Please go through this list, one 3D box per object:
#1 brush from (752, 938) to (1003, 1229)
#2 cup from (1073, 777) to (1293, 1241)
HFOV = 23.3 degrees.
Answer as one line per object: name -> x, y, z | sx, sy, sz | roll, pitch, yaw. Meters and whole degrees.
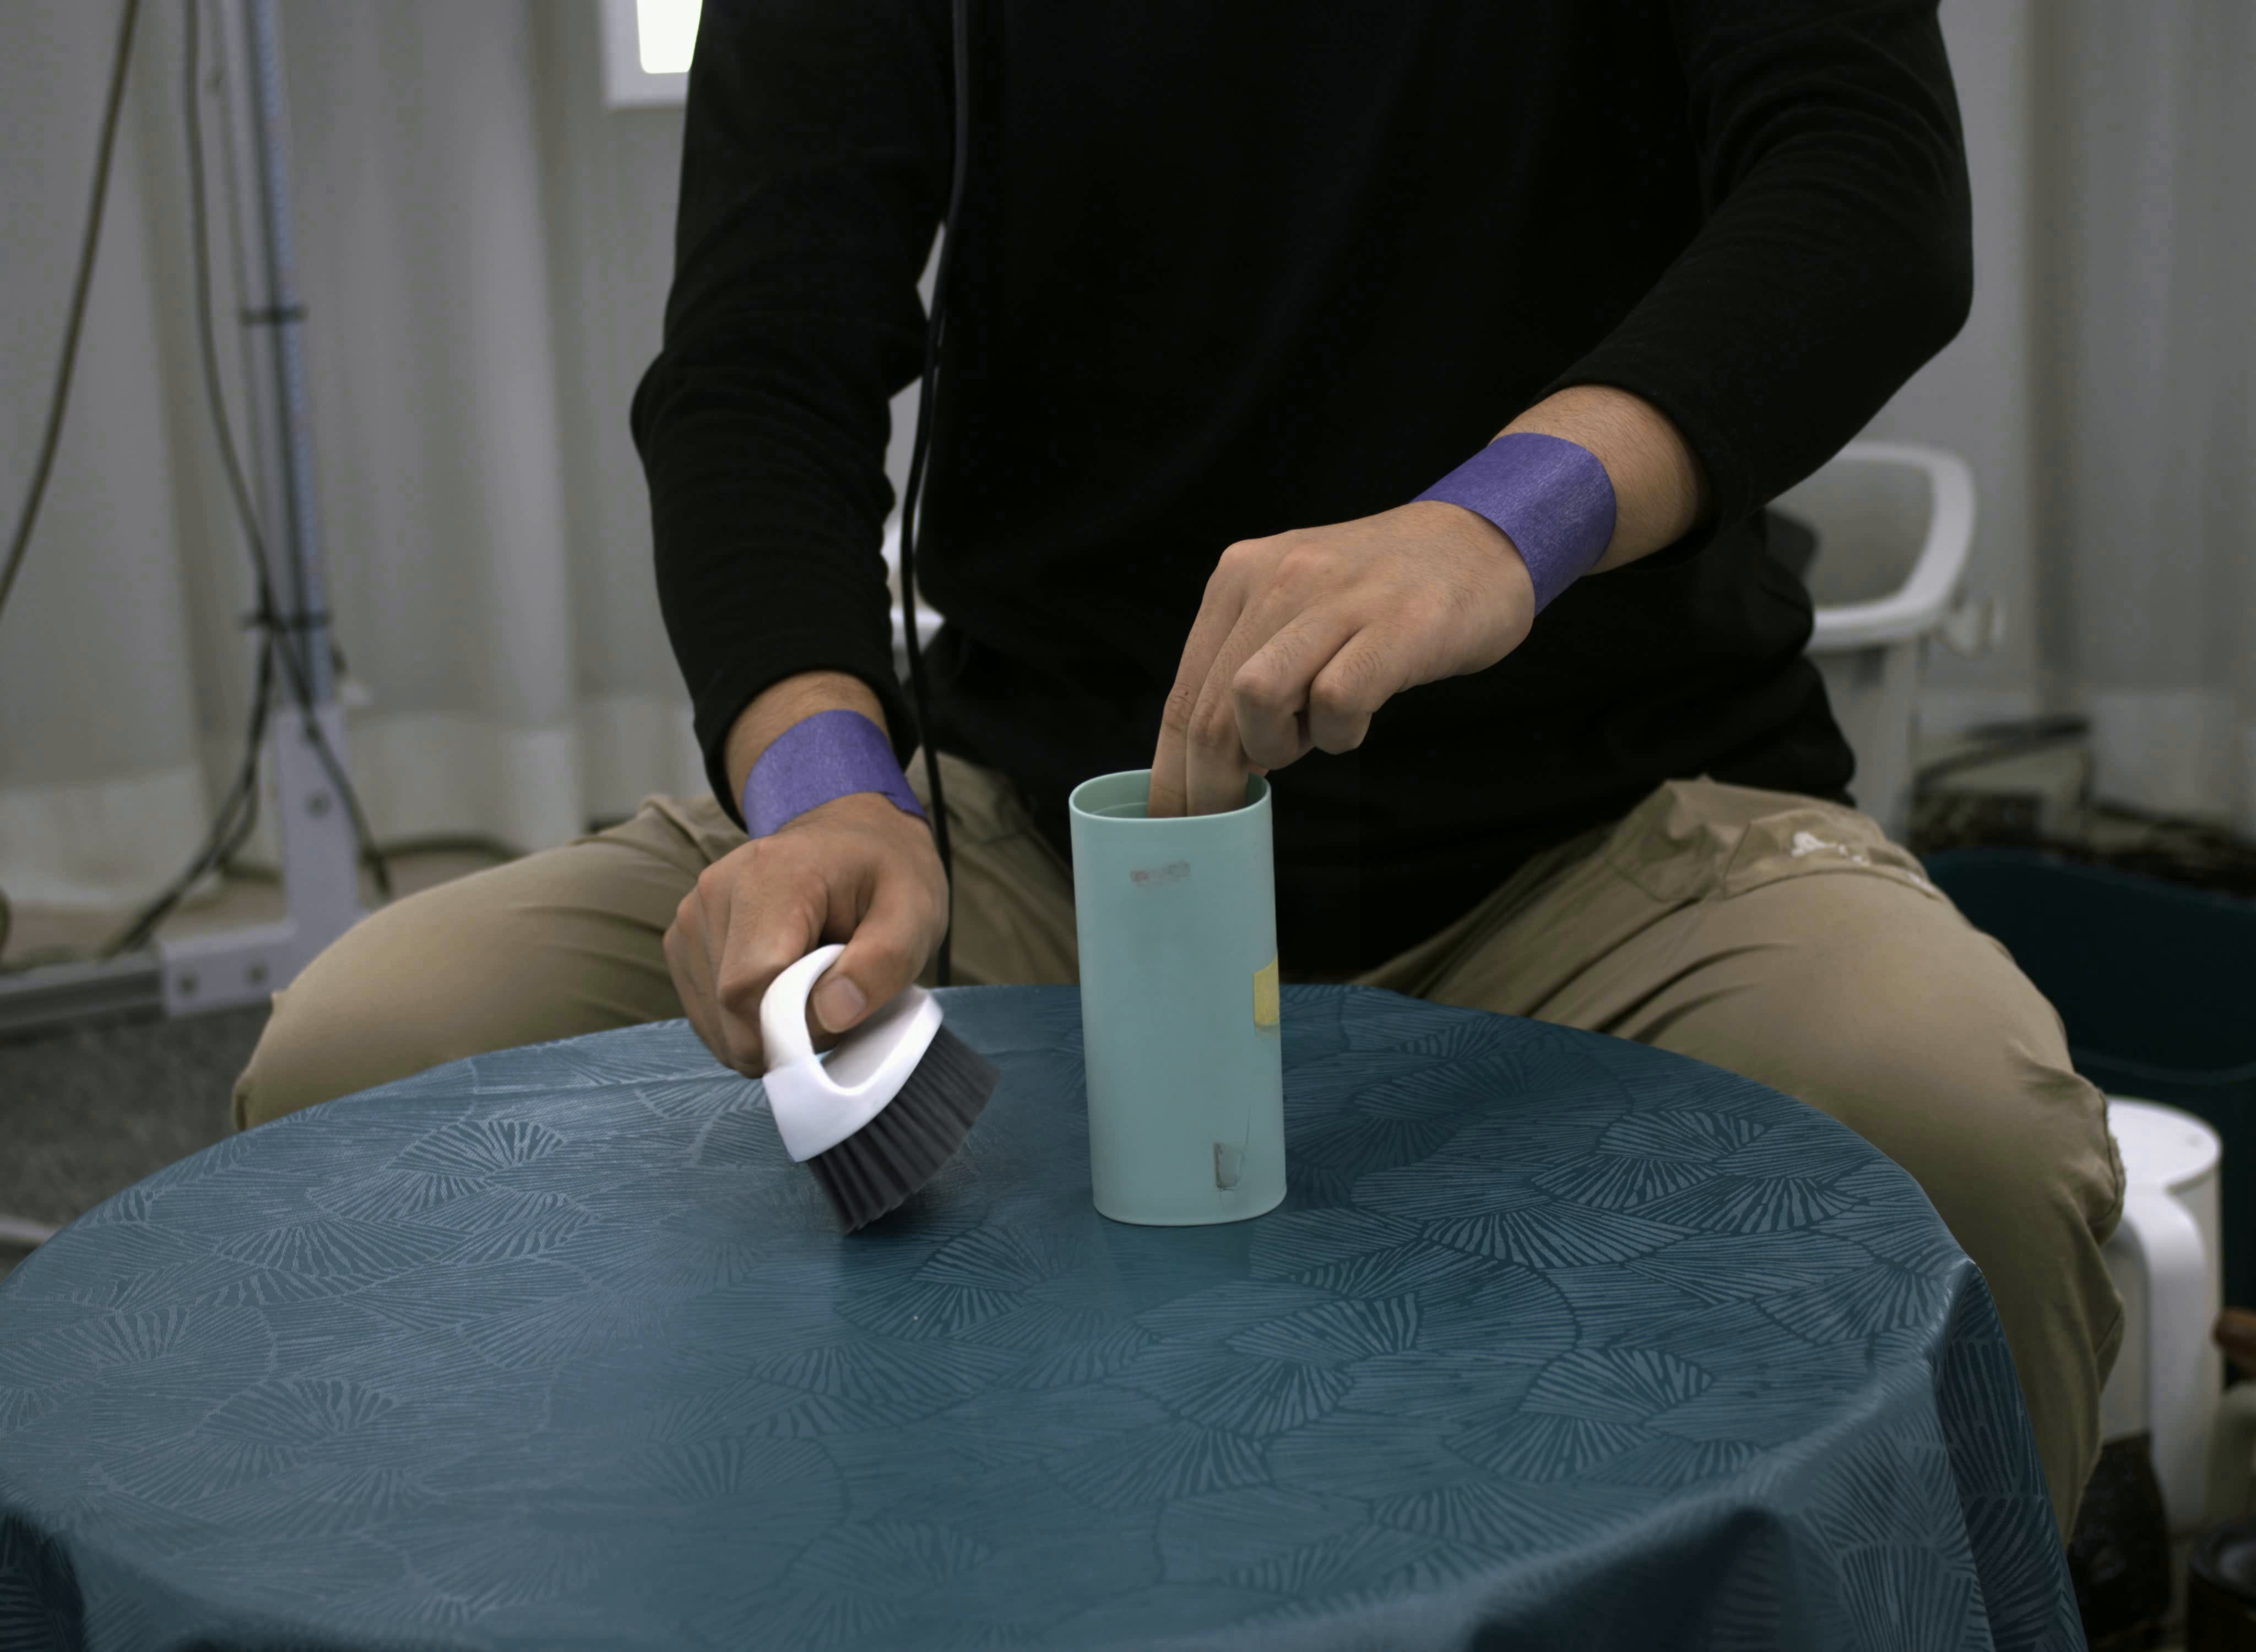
brush -> -0.086, 0.073, 1.719 | 0.050, 0.072, 0.100 | -34, 10, 25
cup -> 0.016, 0.056, 1.695 | 0.066, 0.132, 0.067 | -3, 14, 1
